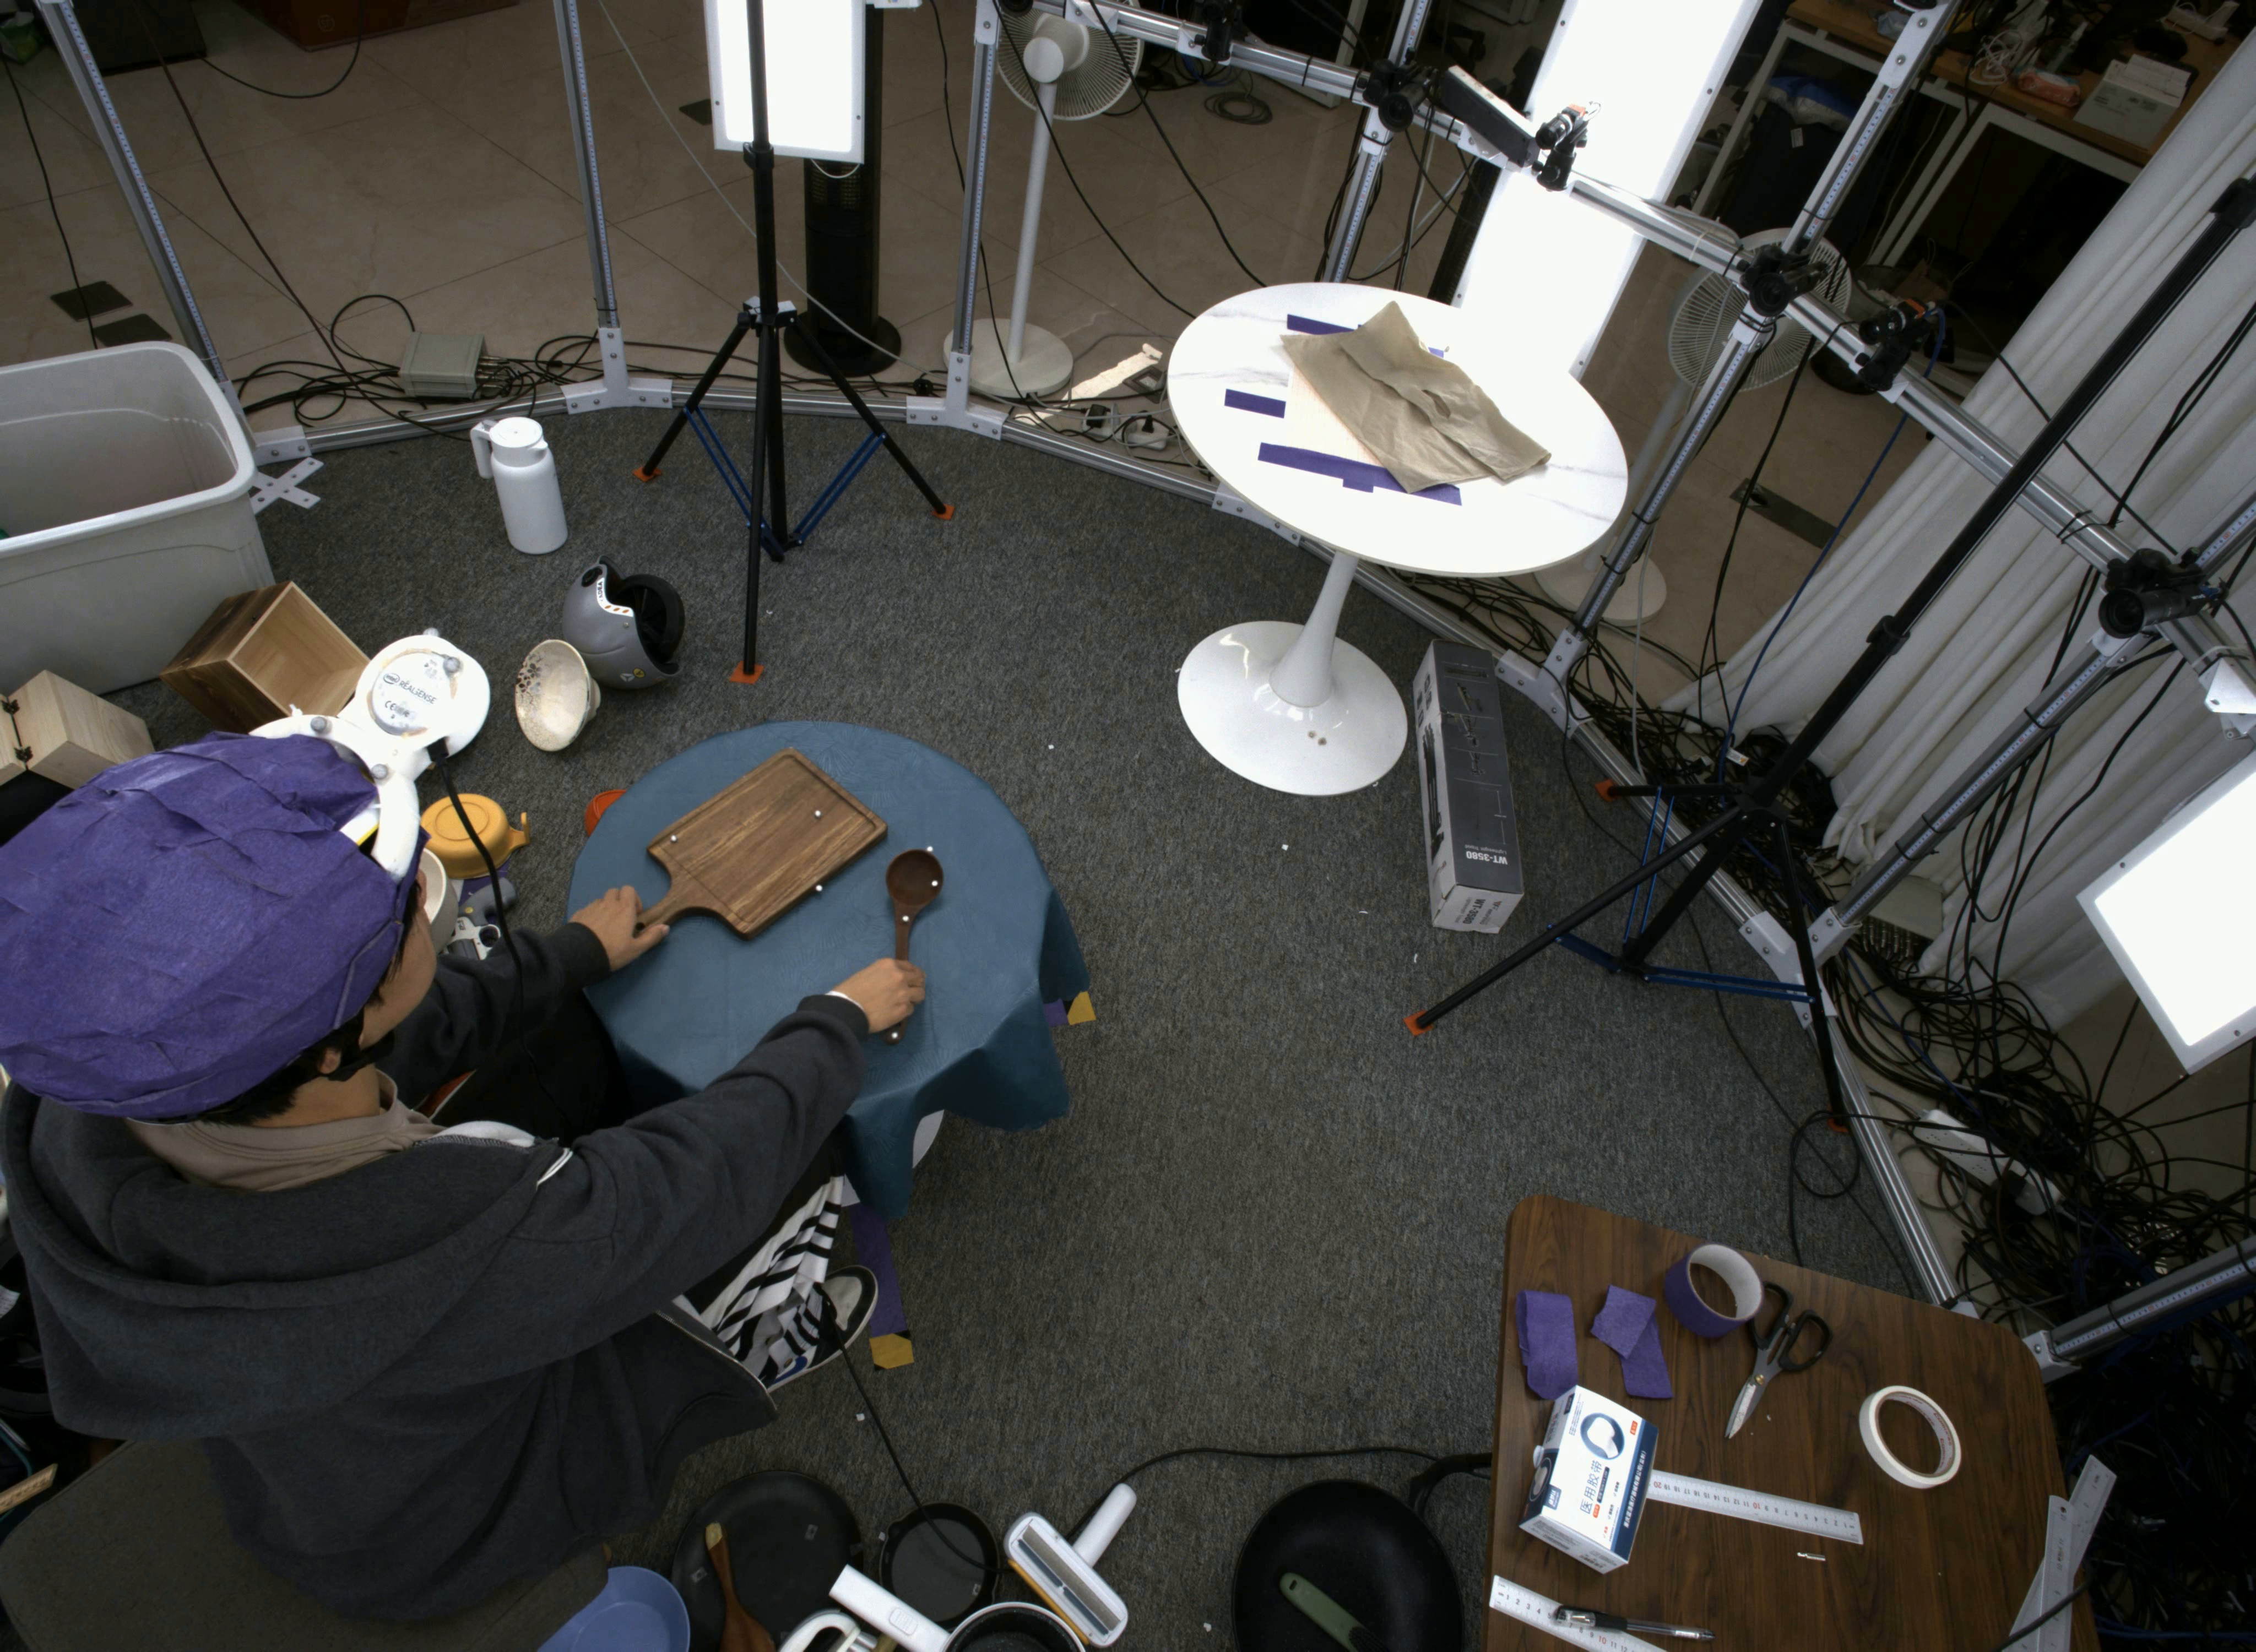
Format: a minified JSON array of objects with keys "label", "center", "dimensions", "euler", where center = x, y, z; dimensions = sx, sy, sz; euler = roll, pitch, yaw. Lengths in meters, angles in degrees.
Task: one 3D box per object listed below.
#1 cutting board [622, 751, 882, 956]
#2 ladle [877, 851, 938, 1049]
[{"label":"cutting board","center":[-0.506,0.048,1.657],"dimensions":[0.197,0.024,0.352],"euler":[36,53,15]},{"label":"ladle","center":[-0.283,0.146,1.615],"dimensions":[0.077,0.066,0.255],"euler":[12,51,-16]}]
